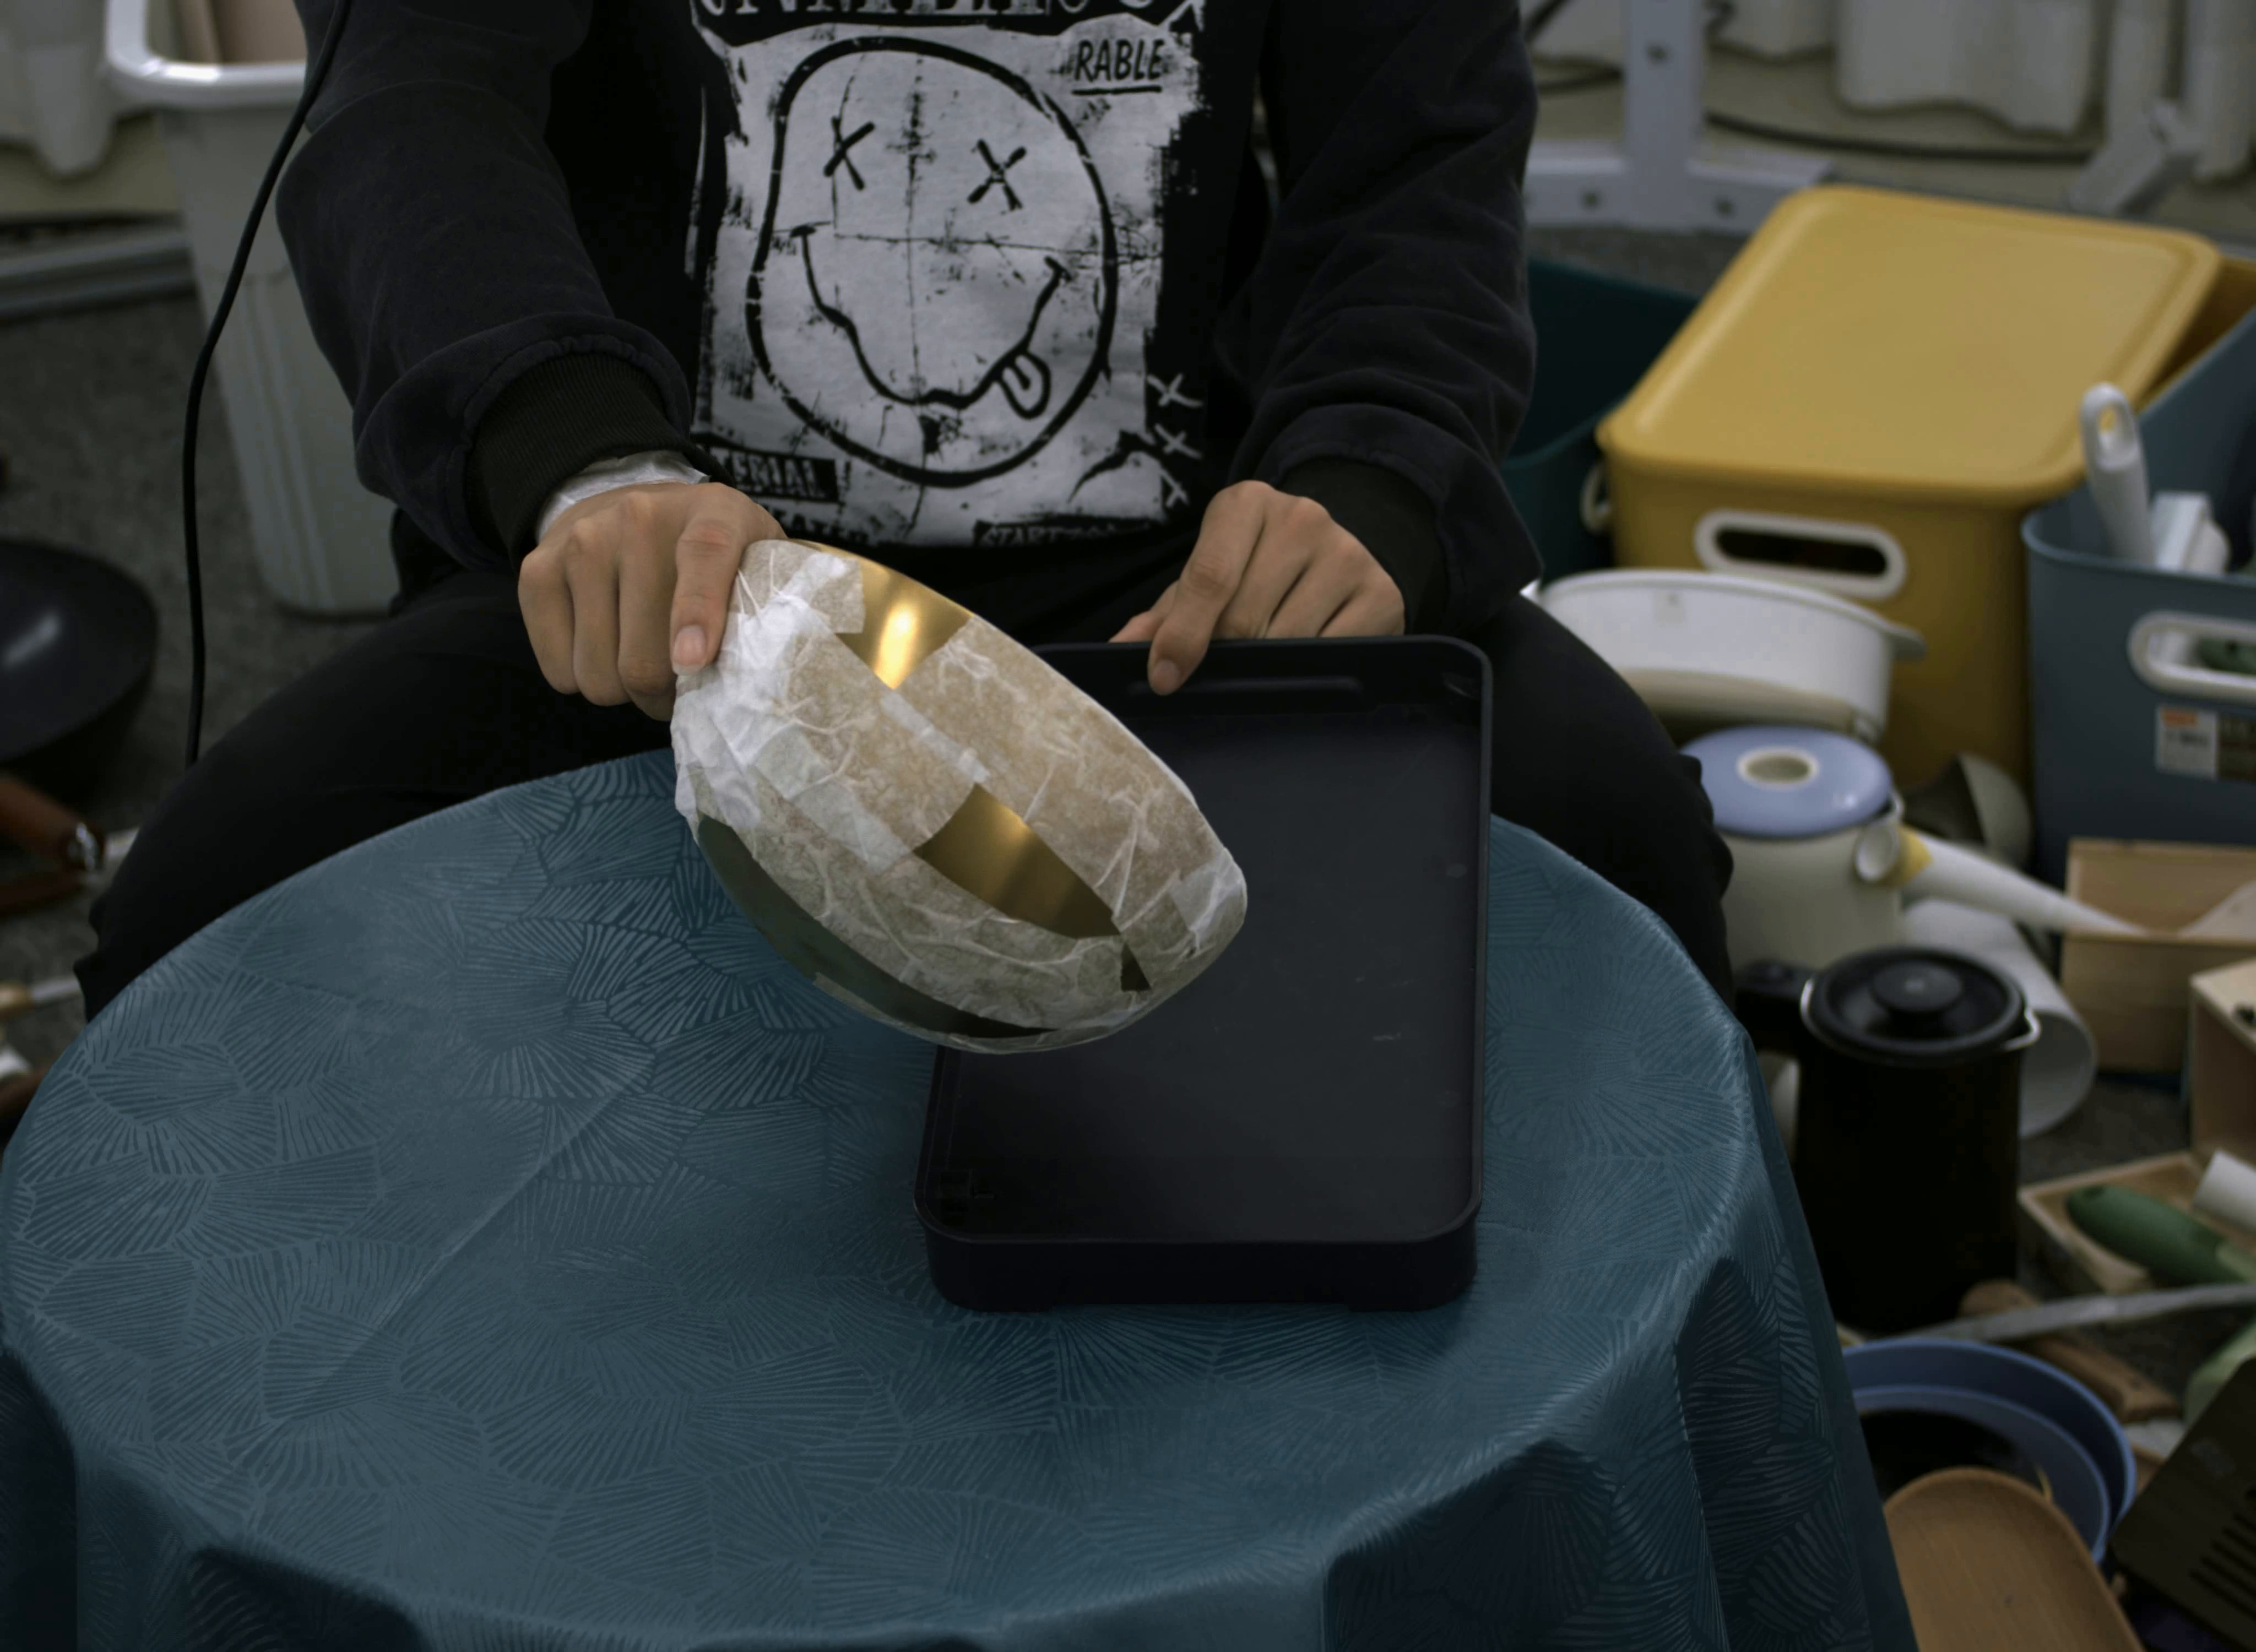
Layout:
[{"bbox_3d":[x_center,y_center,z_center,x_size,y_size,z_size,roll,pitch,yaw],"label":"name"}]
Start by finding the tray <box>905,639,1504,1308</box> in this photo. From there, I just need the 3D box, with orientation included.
[{"bbox_3d":[0.033,0.045,1.905,0.183,0.036,0.324,-1,37,7],"label":"tray"}]

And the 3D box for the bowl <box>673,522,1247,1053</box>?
[{"bbox_3d":[-0.071,0.007,1.784,0.214,0.212,0.096,21,67,39],"label":"bowl"}]
